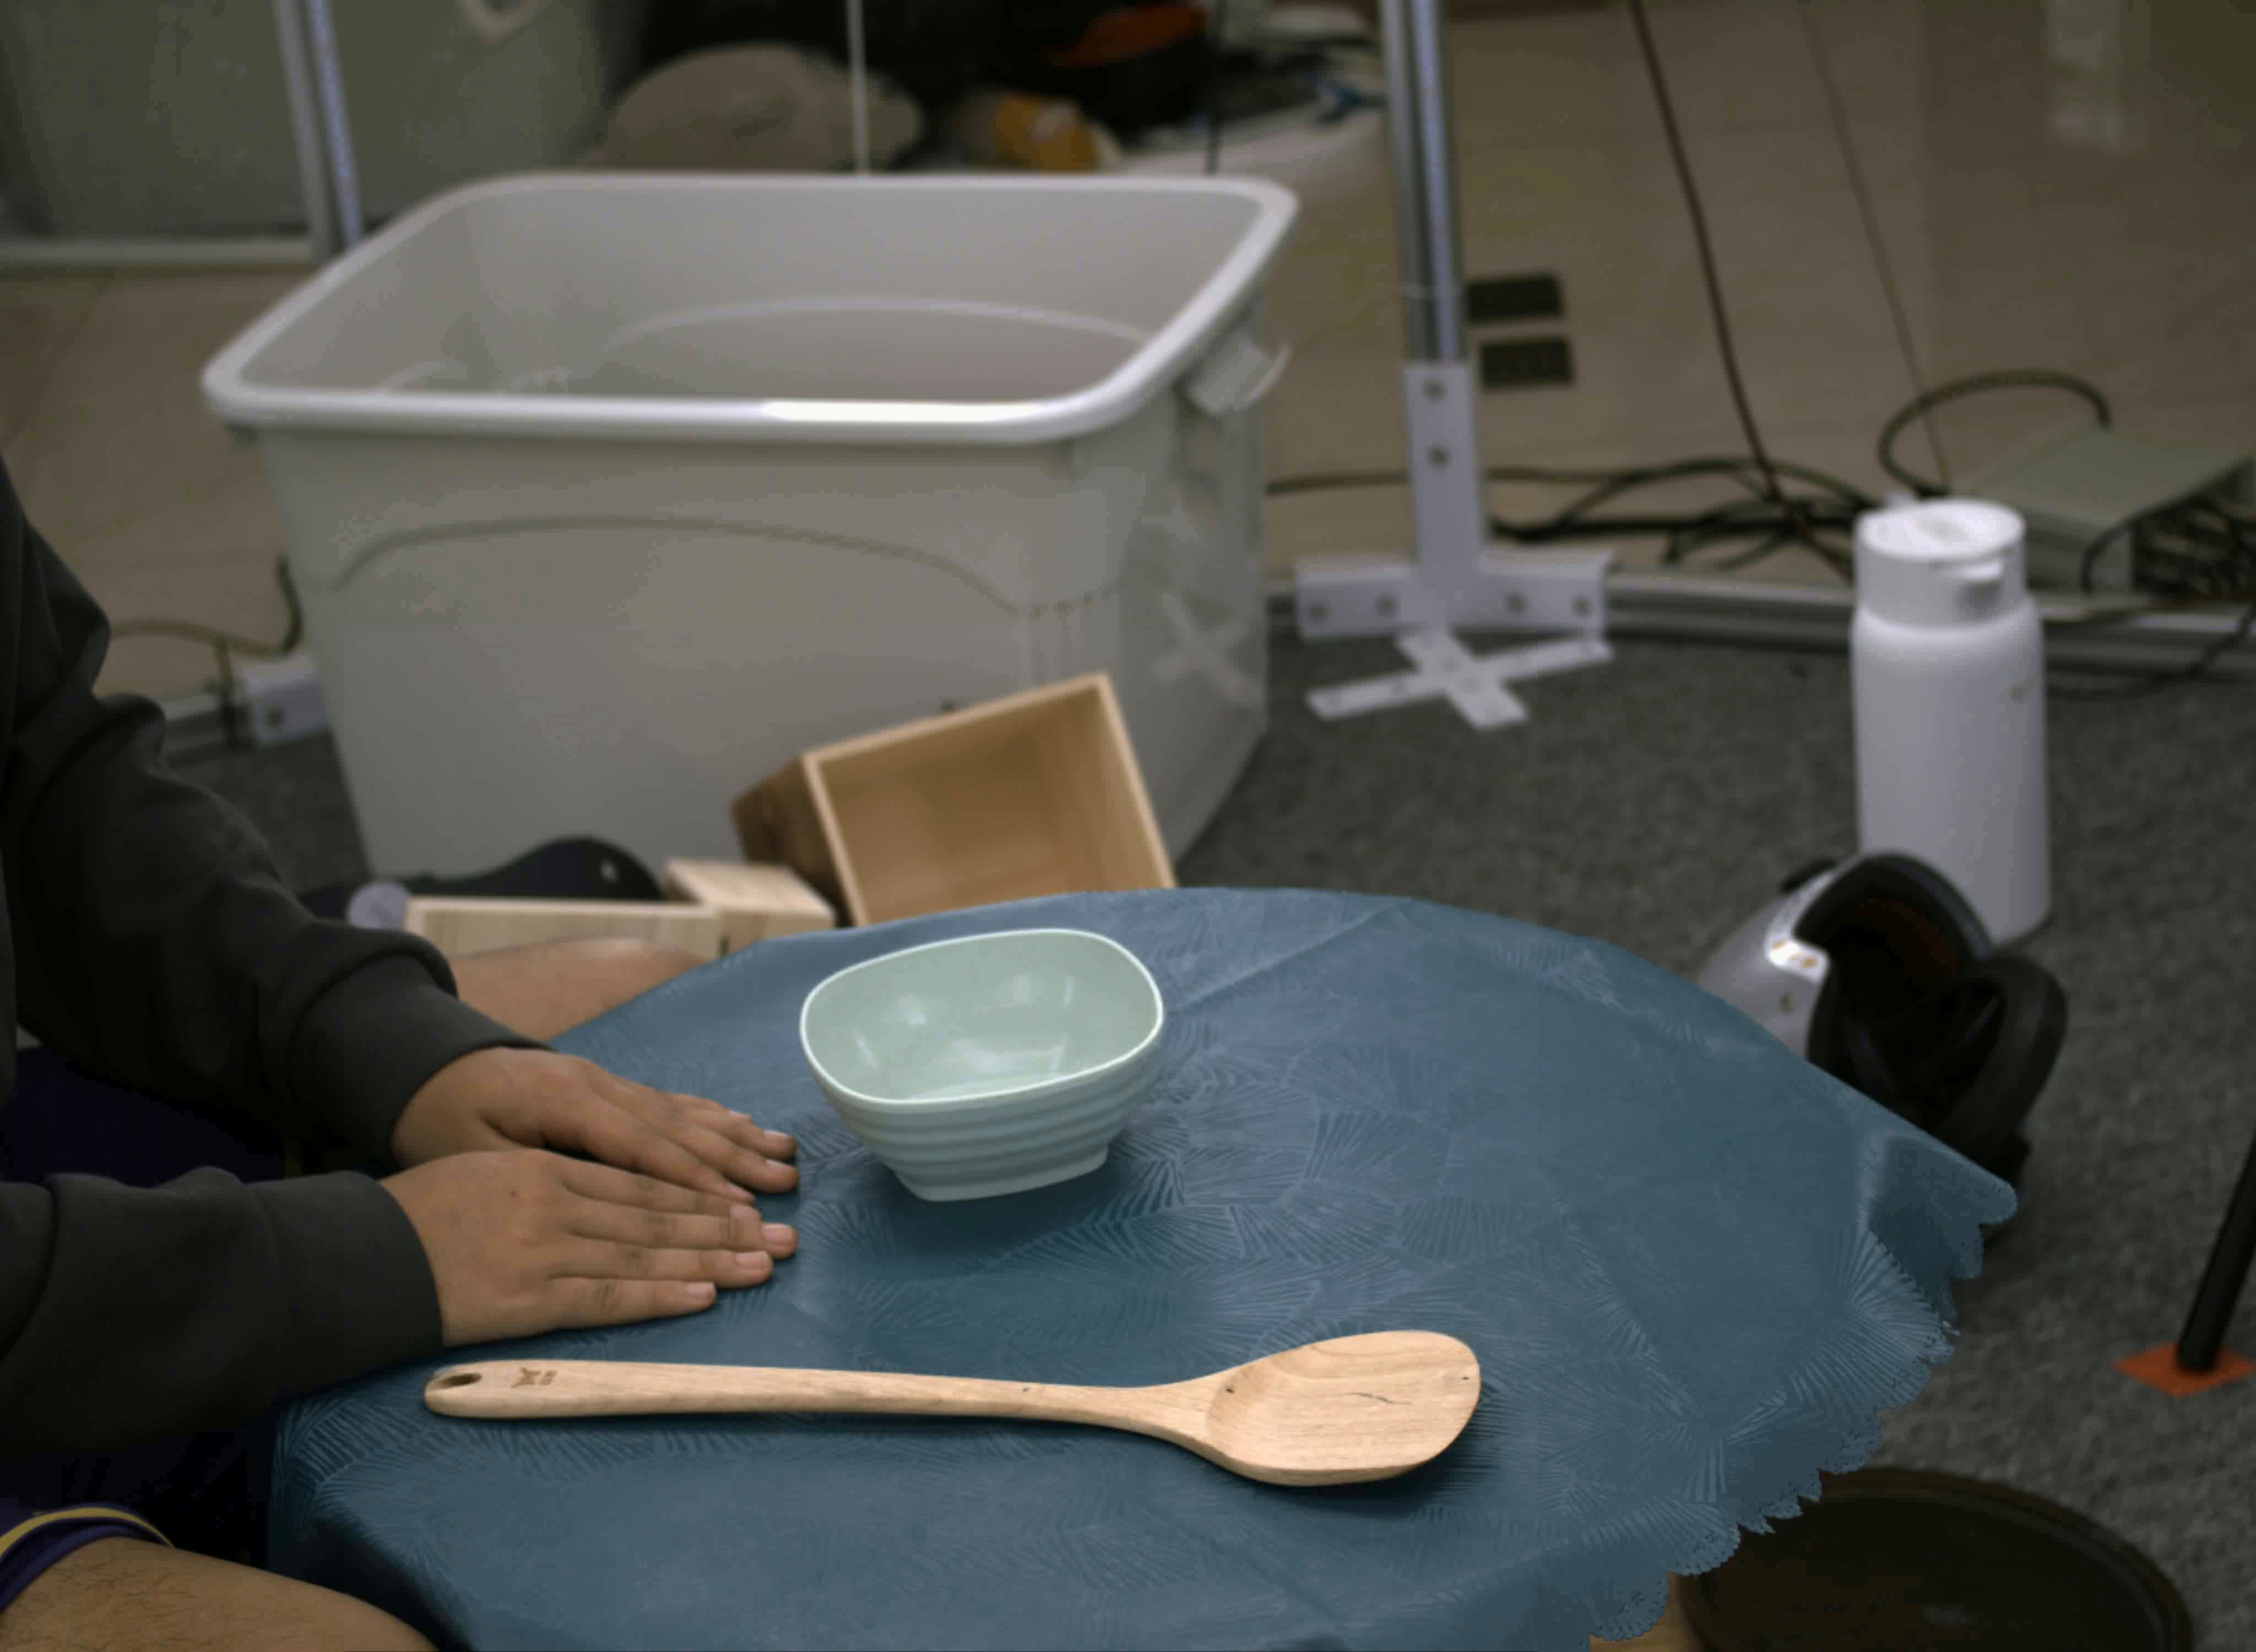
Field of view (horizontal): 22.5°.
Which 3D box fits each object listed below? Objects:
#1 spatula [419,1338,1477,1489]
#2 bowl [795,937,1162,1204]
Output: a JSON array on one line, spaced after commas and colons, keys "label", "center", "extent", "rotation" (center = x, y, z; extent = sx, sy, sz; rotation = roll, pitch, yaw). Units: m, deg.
[{"label": "spatula", "center": [-0.070, 0.204, 2.003], "extent": [0.390, 0.019, 0.094], "rotation": [1, 24, 14]}, {"label": "bowl", "center": [-0.055, 0.099, 2.181], "extent": [0.151, 0.059, 0.149], "rotation": [-4, 25, 2]}]
